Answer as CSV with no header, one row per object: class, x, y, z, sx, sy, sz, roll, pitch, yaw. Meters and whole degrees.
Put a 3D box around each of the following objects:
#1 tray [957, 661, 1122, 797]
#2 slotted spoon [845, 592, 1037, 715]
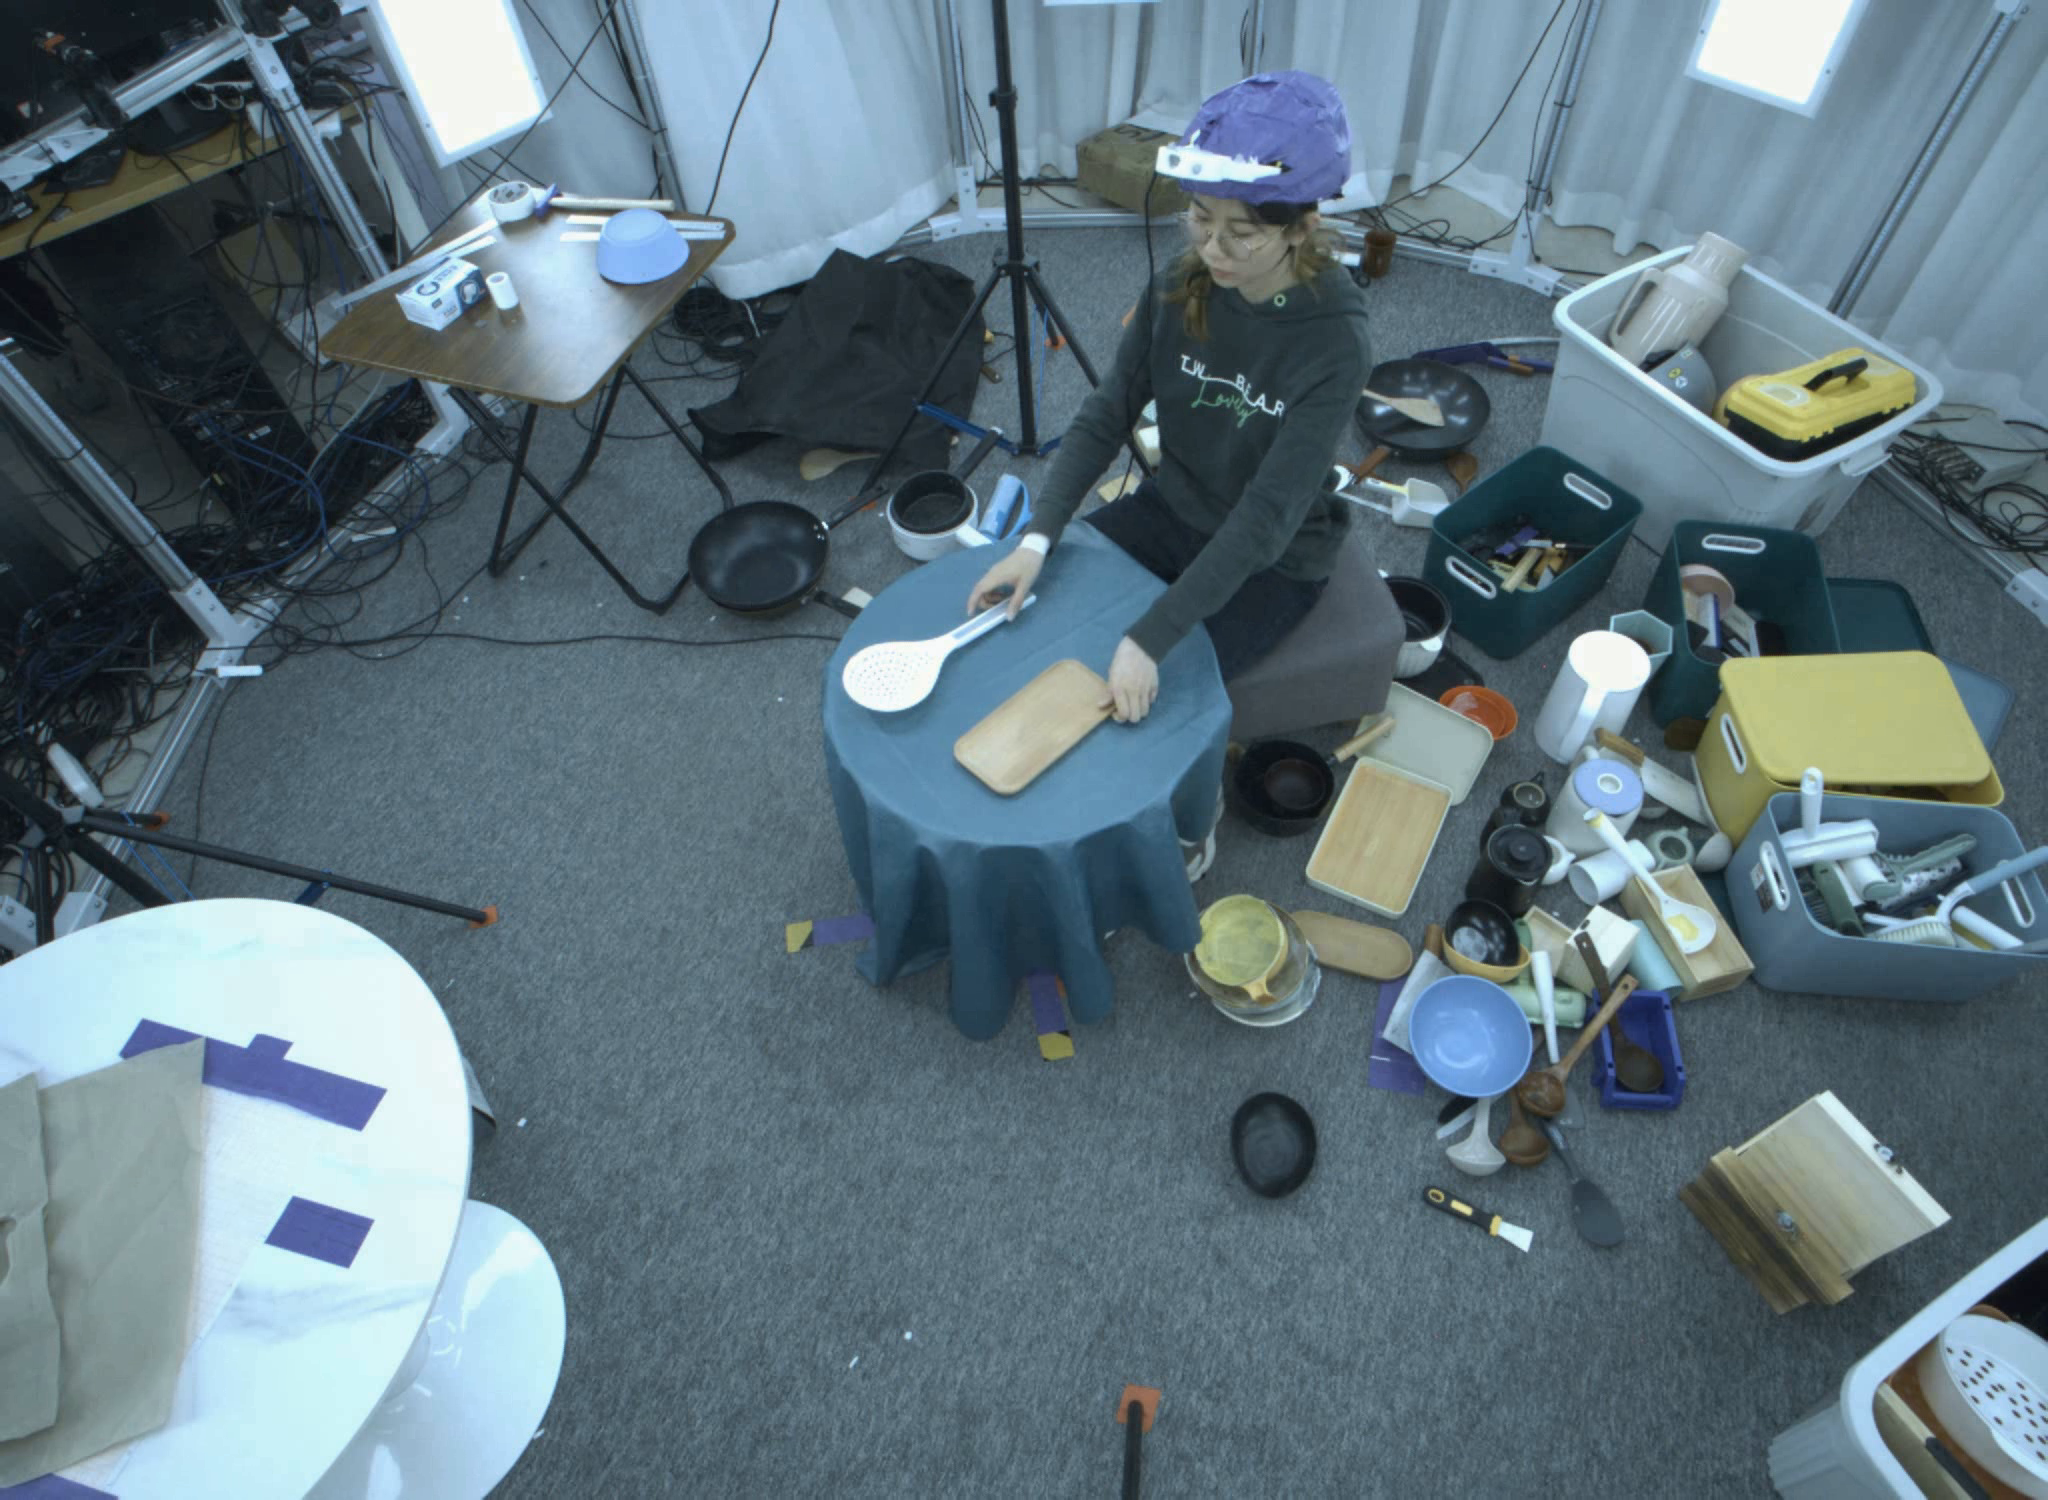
tray,0.024,-0.032,1.810,0.252,0.023,0.128,-39,64,-24
slotted spoon,-0.118,-0.157,1.883,0.352,0.046,0.134,-36,64,-22
